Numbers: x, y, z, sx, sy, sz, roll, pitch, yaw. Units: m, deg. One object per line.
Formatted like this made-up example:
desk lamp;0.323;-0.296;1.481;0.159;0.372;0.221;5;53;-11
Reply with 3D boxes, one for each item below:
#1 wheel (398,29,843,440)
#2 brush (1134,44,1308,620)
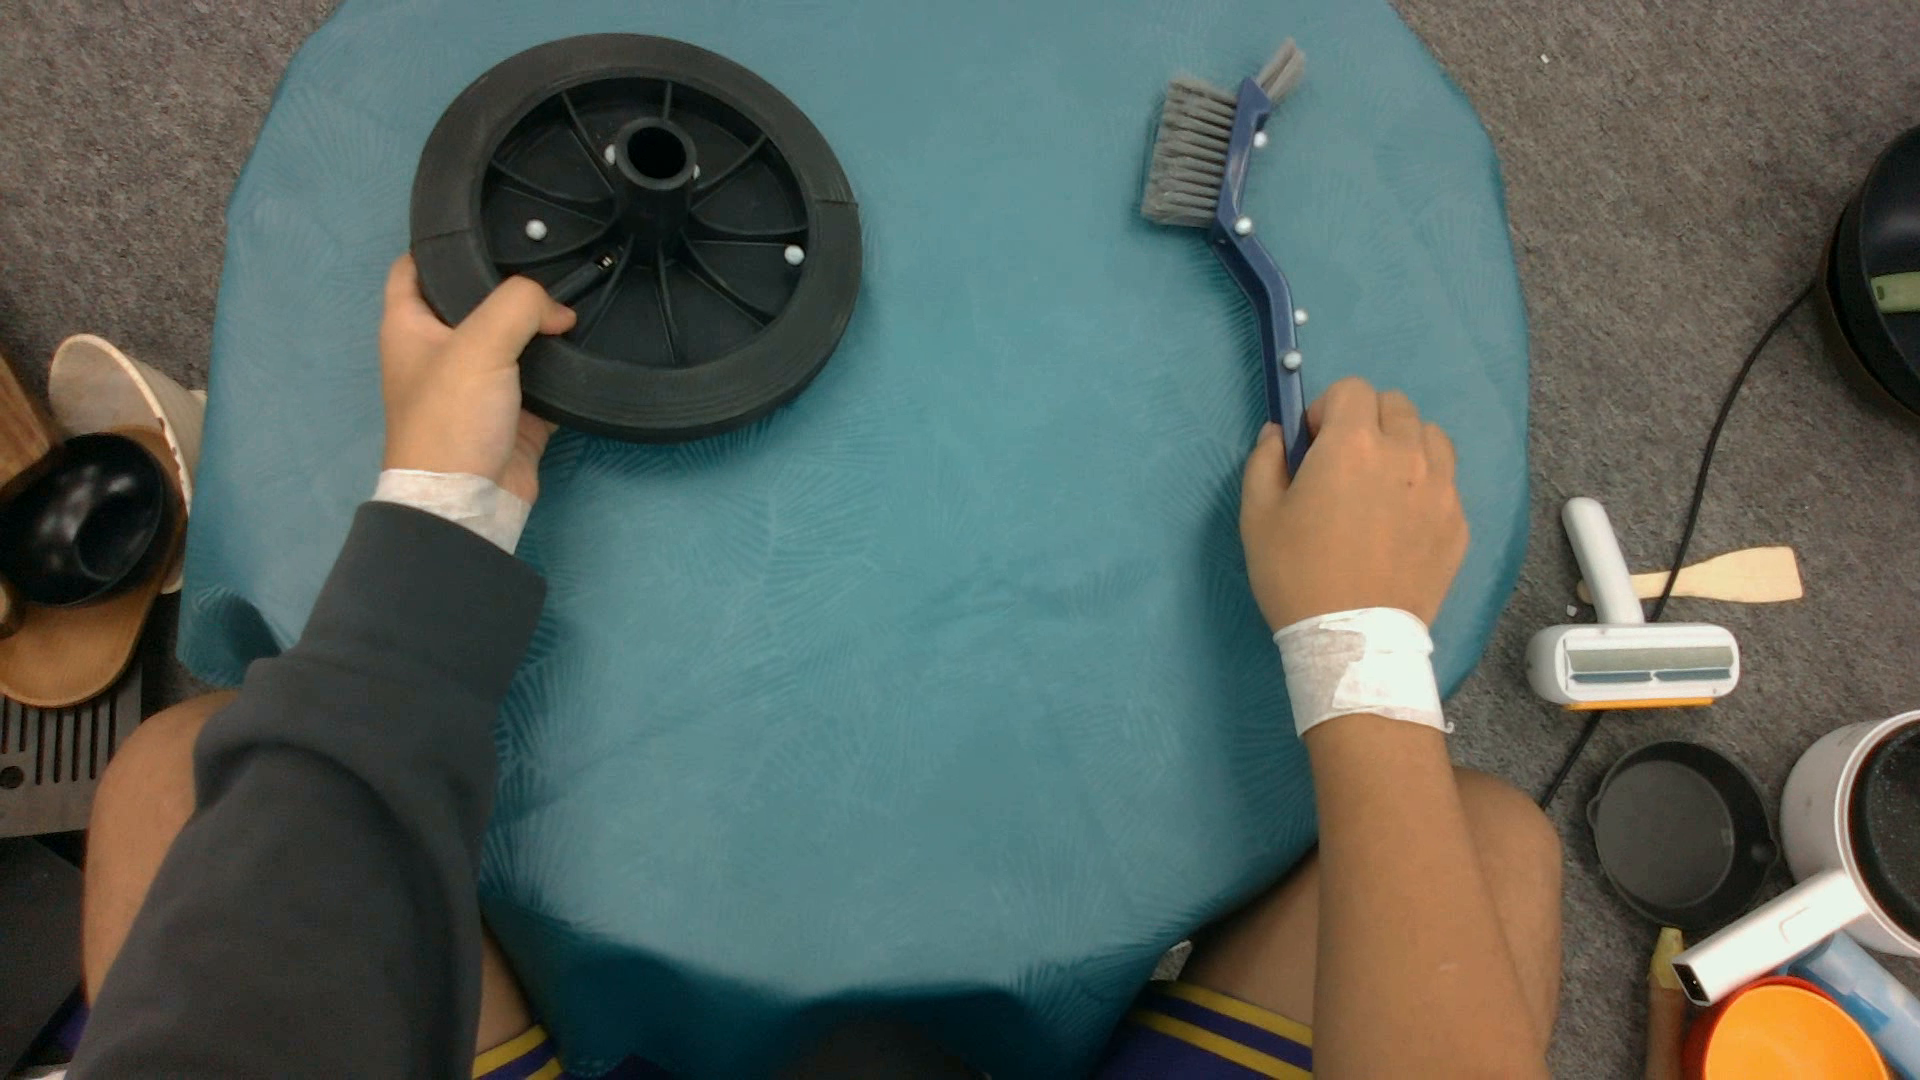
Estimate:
wheel;-0.138;-0.141;0.578;0.187;0.079;0.190;24;68;-10
brush;0.144;-0.102;0.634;0.096;0.033;0.273;-11;77;-9
